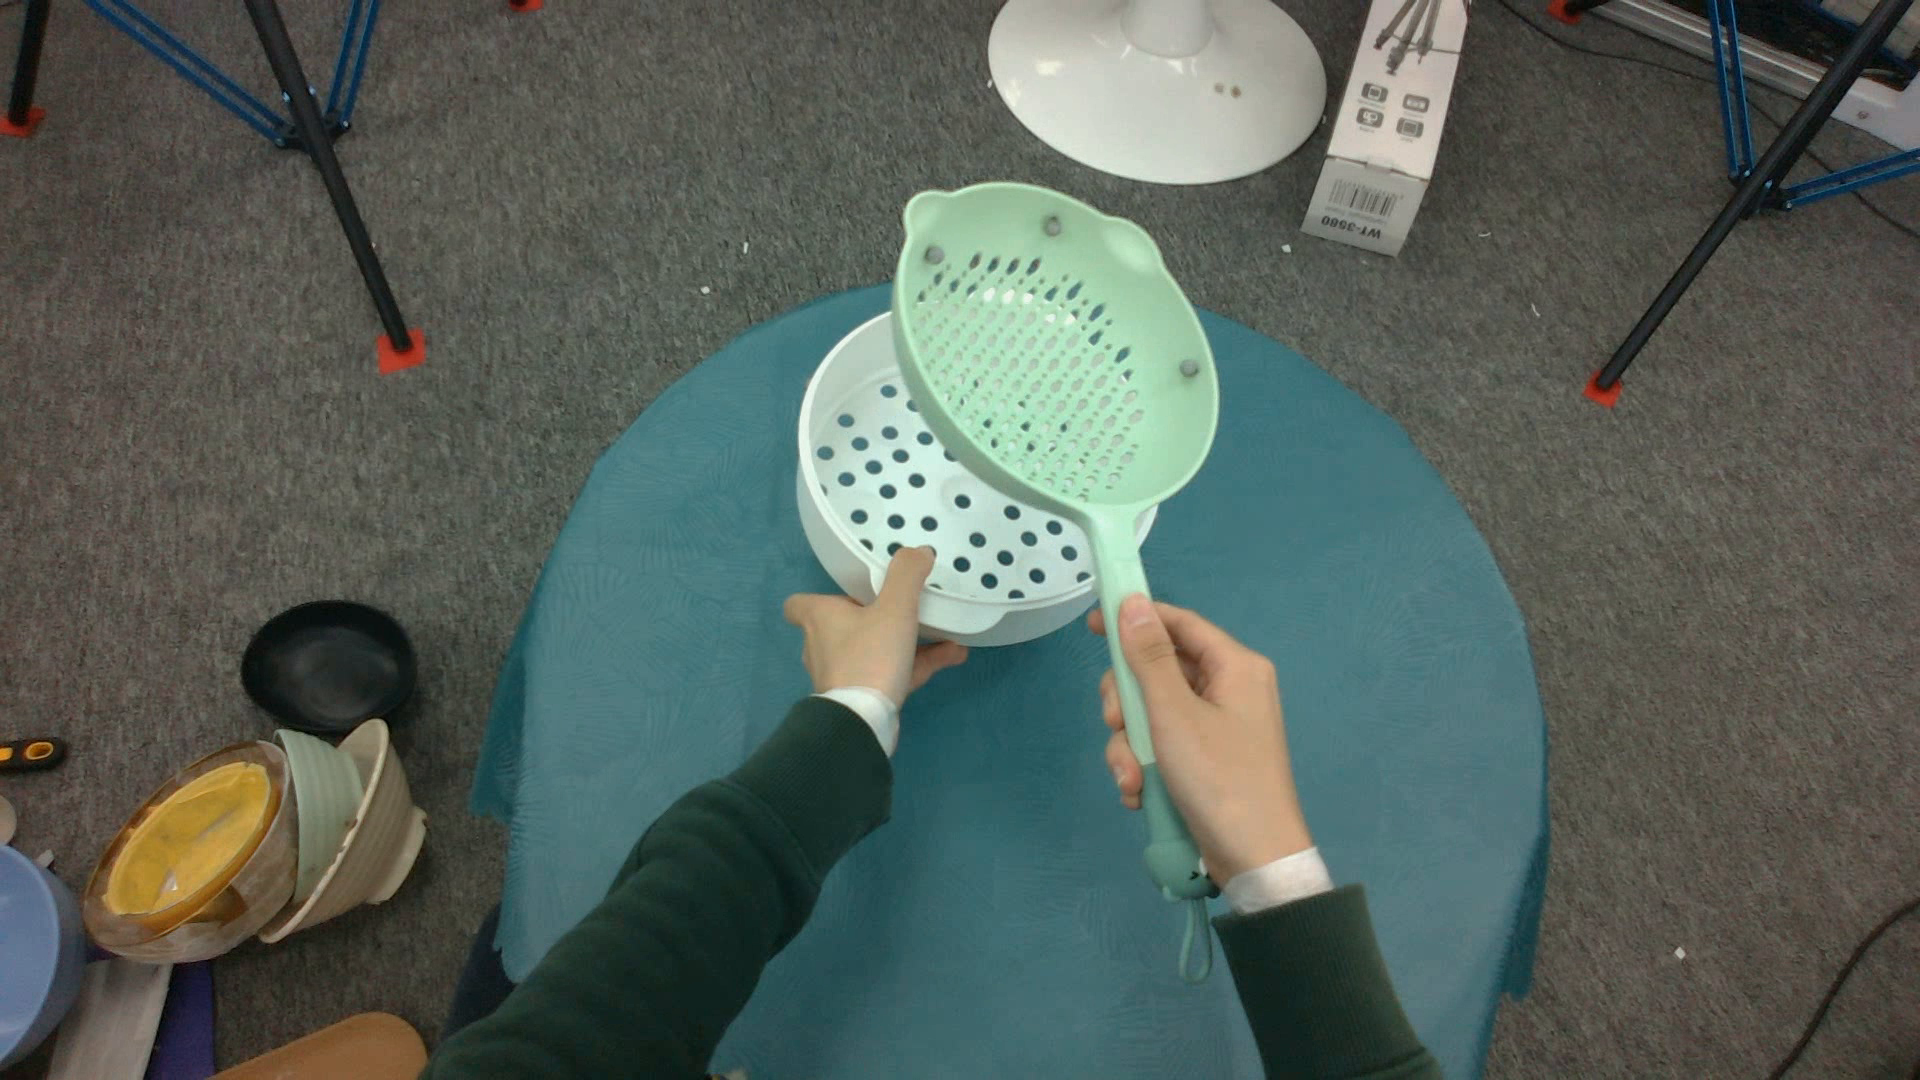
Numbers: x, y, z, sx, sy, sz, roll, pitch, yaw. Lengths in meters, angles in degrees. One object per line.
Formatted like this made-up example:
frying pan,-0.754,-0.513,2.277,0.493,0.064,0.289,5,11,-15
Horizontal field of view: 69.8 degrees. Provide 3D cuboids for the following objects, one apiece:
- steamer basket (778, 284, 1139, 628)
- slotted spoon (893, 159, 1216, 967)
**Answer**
steamer basket,-0.002,-0.047,0.770,0.202,0.069,0.231,17,58,-2
slotted spoon,0.060,-0.004,0.600,0.170,0.075,0.360,1,60,-30
